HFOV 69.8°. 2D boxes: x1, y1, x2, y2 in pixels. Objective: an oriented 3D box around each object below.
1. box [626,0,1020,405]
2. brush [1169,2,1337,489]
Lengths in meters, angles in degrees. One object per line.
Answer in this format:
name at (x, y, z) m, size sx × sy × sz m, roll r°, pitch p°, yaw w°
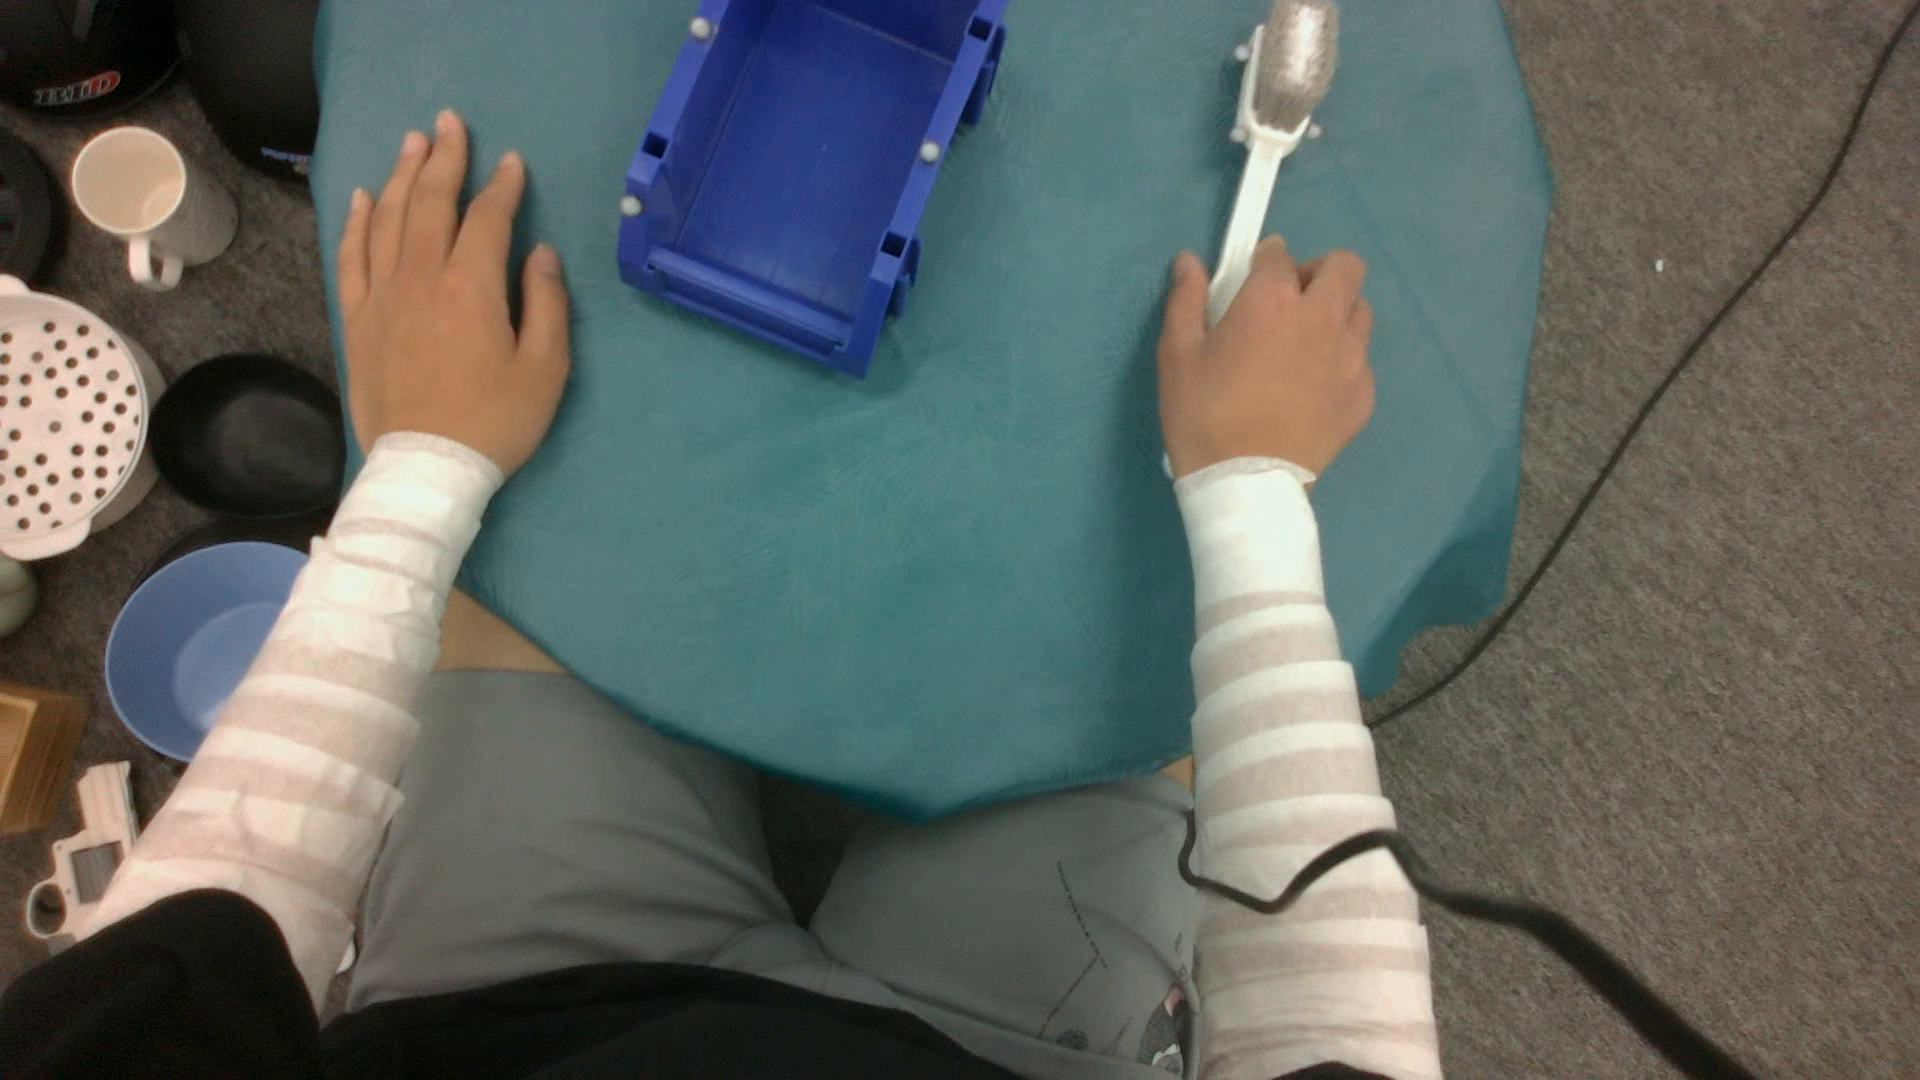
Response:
box at (-0.063, -0.170, 0.639) m, size 0.124 × 0.082 × 0.179 m, roll 23°, pitch 82°, yaw -3°
brush at (0.142, -0.145, 0.670) m, size 0.034 × 0.050 × 0.244 m, roll 14°, pitch 83°, yaw -2°
